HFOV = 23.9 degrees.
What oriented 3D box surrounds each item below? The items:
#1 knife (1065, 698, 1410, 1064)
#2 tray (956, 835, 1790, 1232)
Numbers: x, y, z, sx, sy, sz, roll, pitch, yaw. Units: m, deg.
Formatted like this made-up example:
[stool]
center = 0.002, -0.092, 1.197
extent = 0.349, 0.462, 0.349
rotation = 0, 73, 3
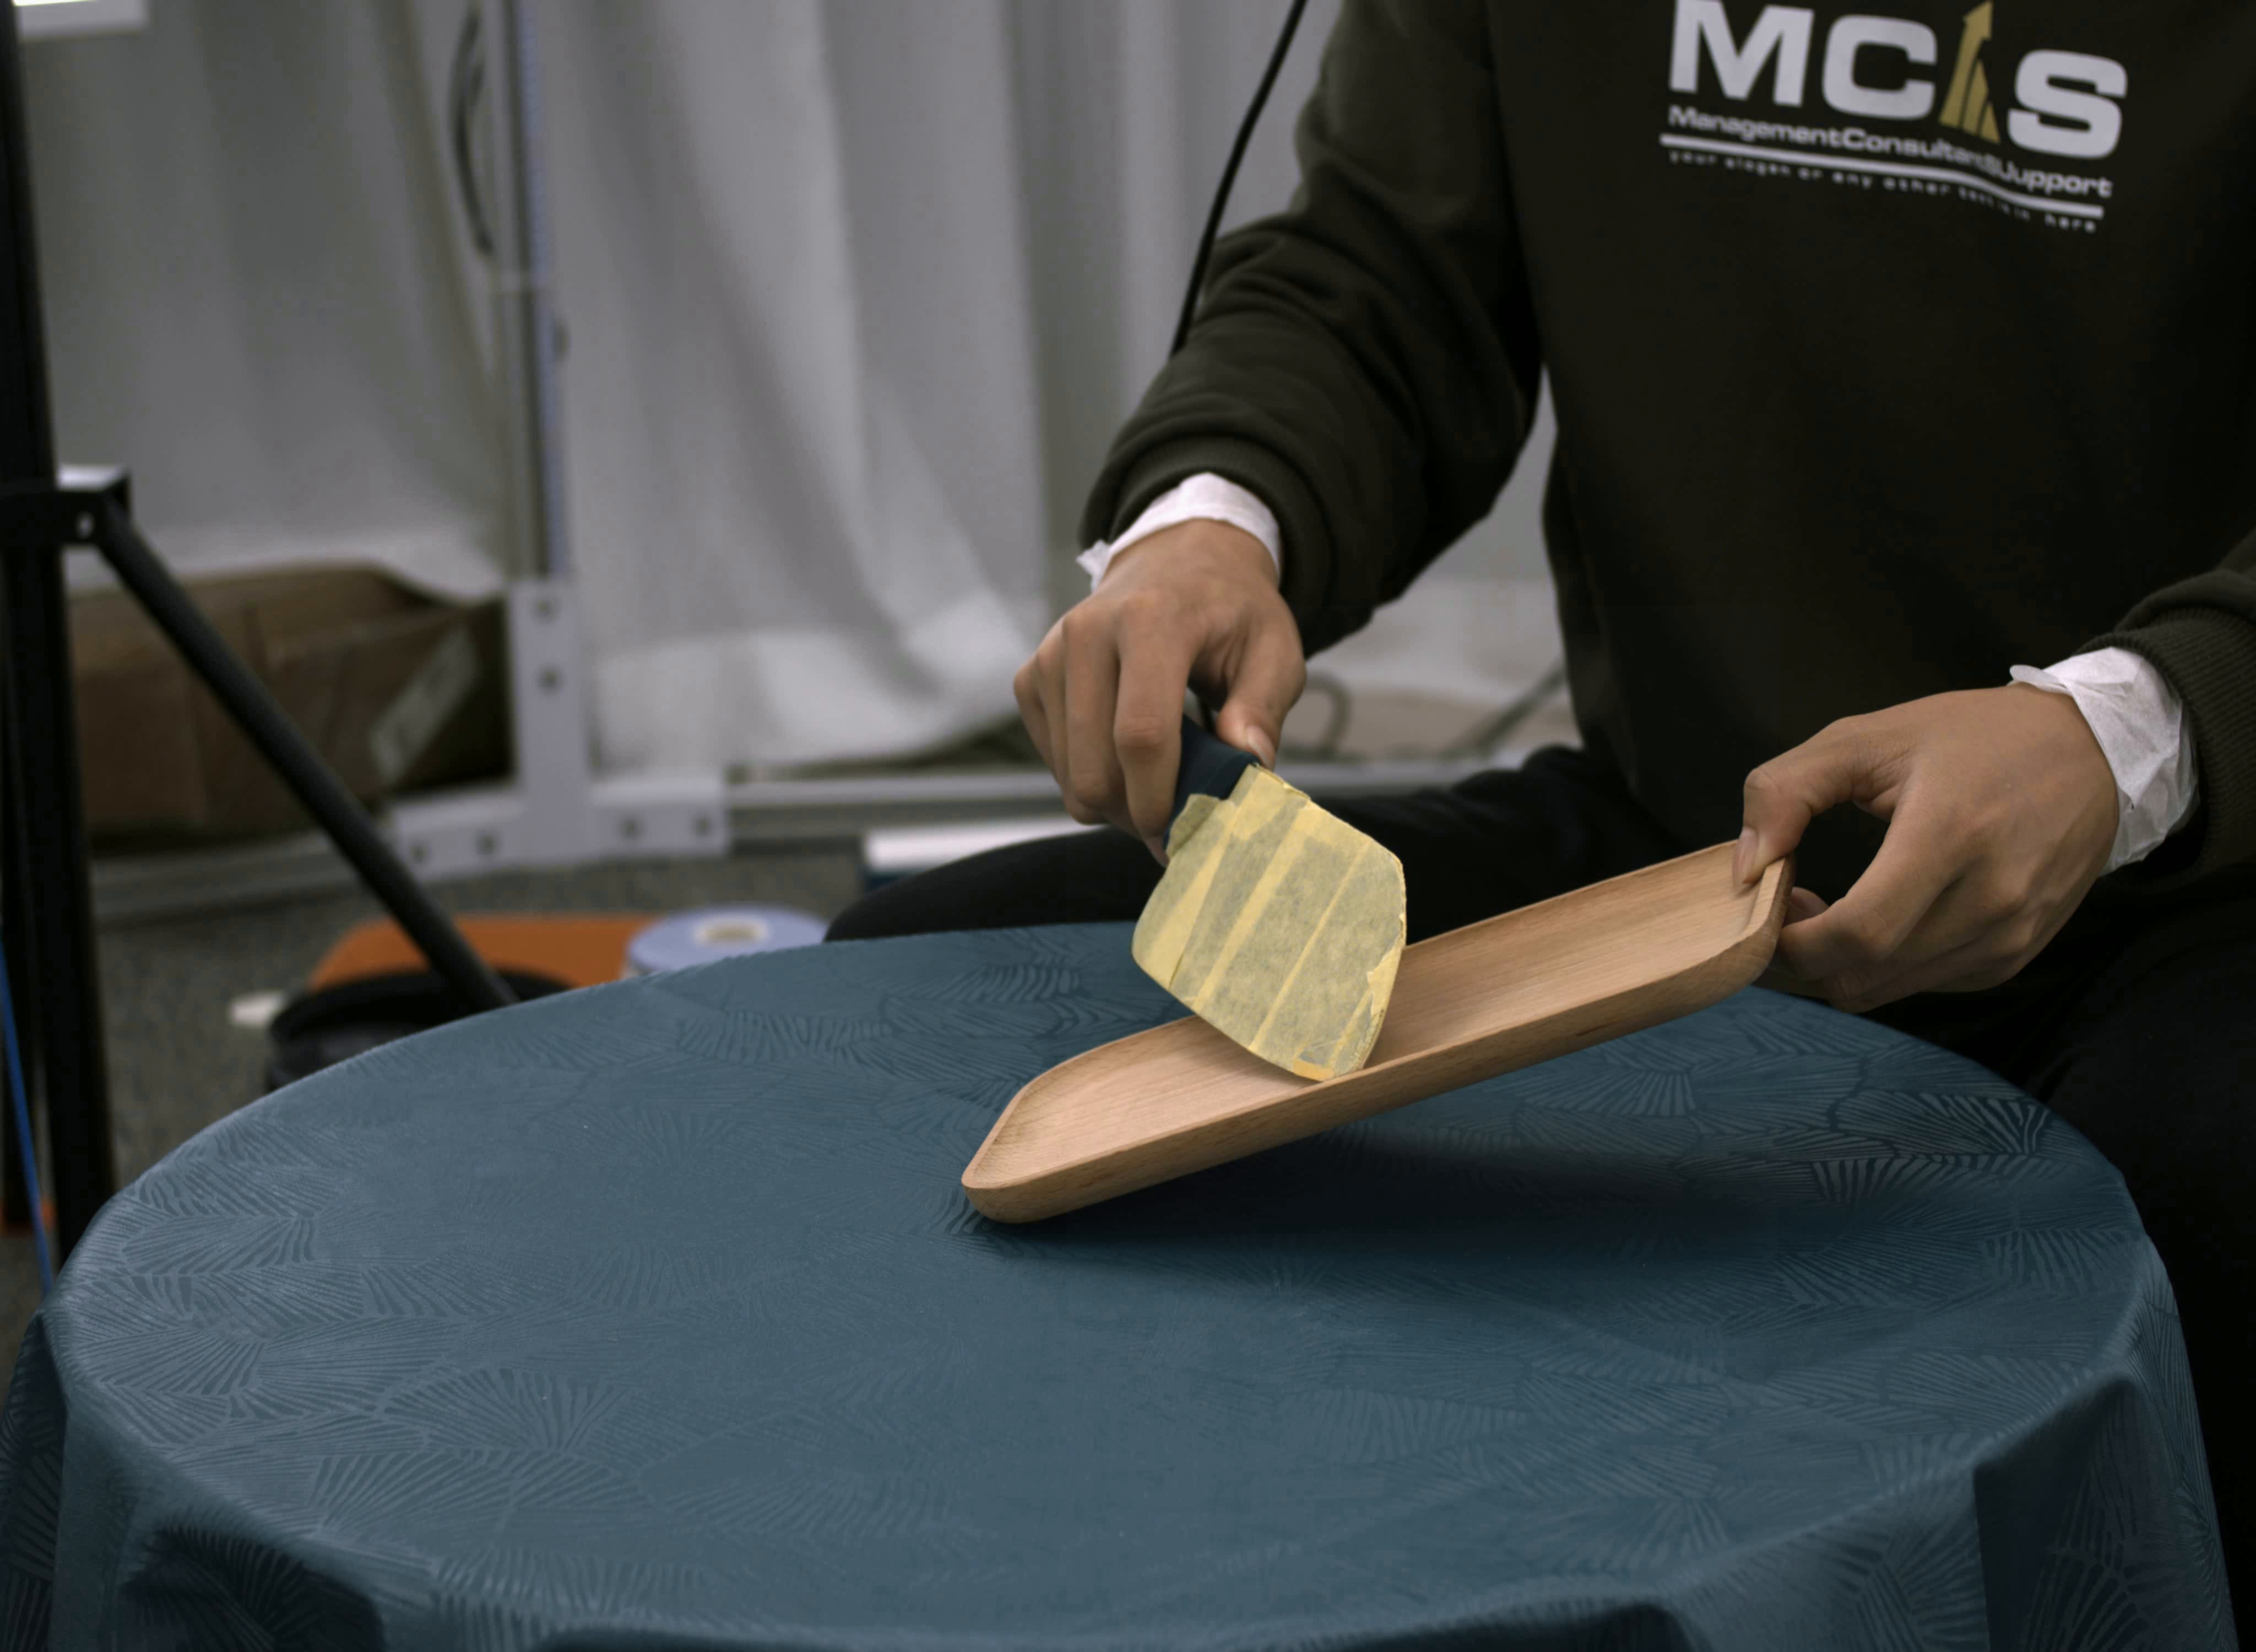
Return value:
[knife]
center = 0.027, 0.013, 1.628
extent = 0.027, 0.081, 0.294
rotation = 31, 5, -23
[tray]
center = 0.073, 0.061, 1.543
extent = 0.253, 0.023, 0.129
rotation = -20, 9, 18
